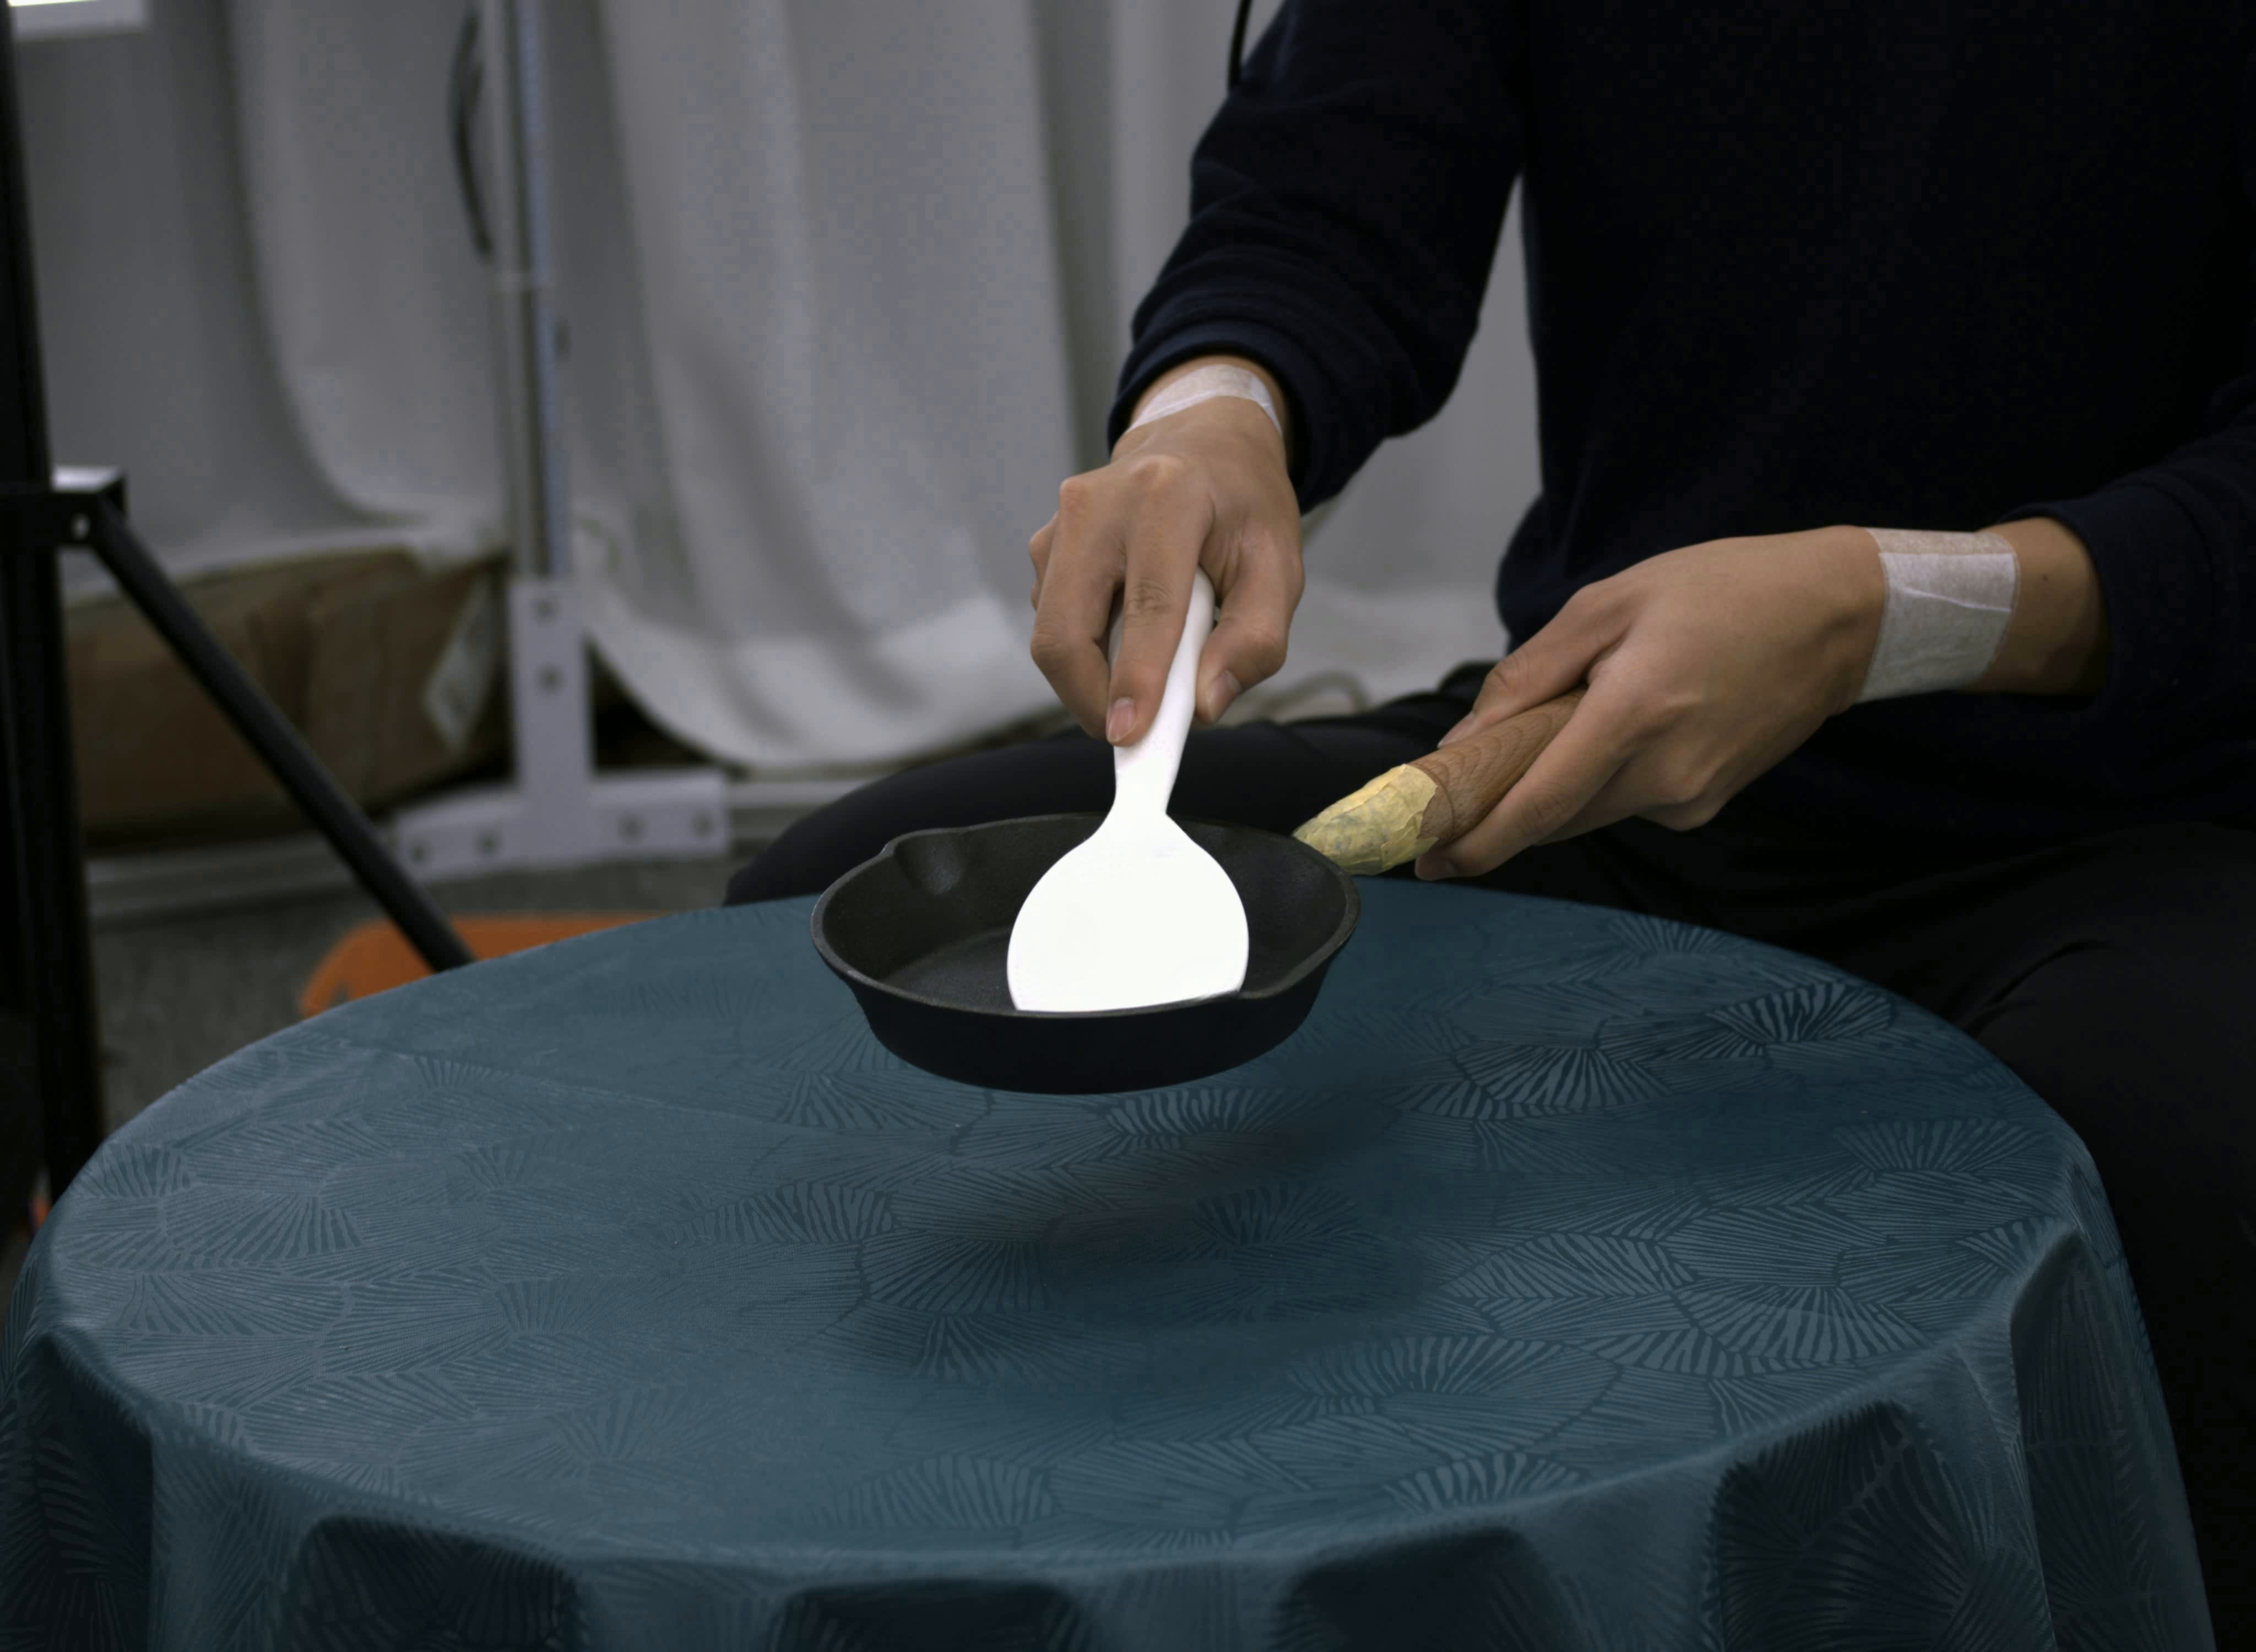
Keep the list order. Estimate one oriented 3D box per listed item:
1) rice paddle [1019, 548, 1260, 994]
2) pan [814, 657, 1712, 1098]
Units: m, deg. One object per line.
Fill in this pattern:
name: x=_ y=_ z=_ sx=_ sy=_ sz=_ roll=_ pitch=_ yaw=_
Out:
rice paddle: x=0.007 y=-0.005 z=1.546 sx=0.069 sy=0.029 sz=0.207 roll=-3 pitch=42 yaw=7
pan: x=0.055 y=0.010 z=1.559 sx=0.317 sy=0.049 sz=0.173 roll=-18 pitch=26 yaw=-32
